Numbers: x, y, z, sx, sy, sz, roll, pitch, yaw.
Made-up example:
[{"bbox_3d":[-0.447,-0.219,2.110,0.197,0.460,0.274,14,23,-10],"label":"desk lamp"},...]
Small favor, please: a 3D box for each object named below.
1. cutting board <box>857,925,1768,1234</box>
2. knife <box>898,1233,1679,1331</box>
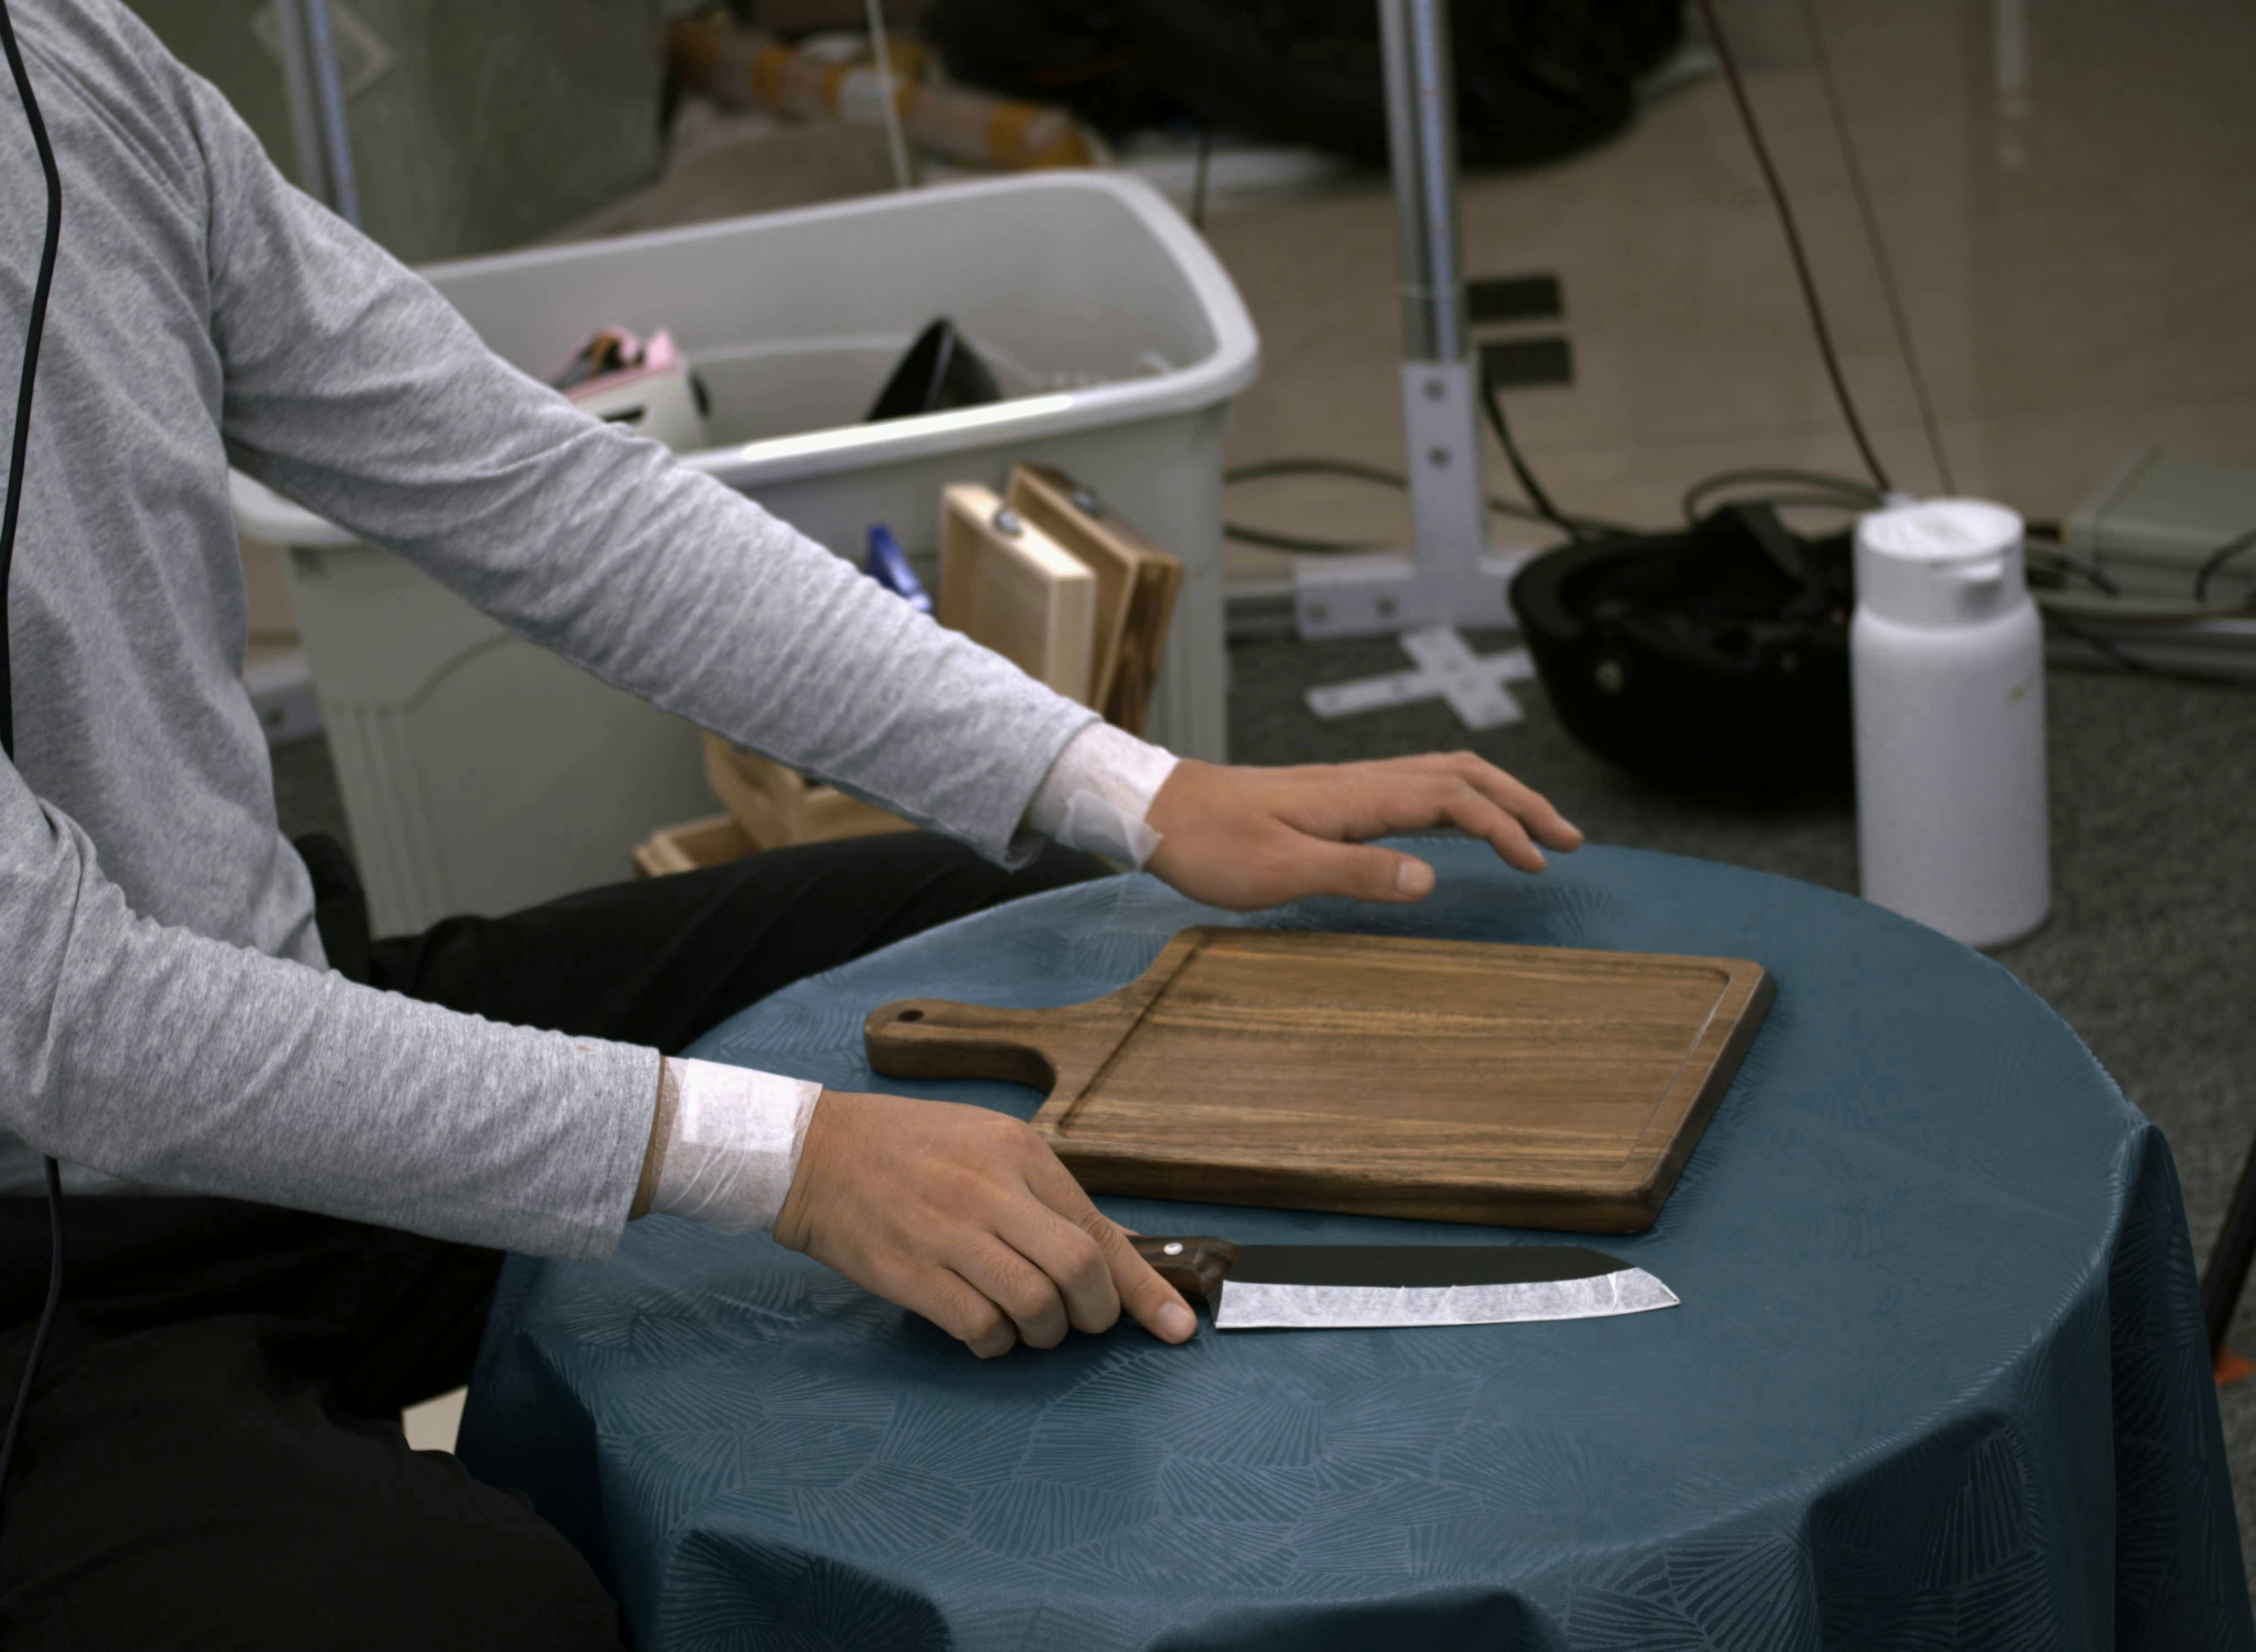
[{"bbox_3d":[0.059,0.092,2.213,0.351,0.023,0.198,4,26,20],"label":"cutting board"},{"bbox_3d":[0.056,0.166,2.062,0.288,0.020,0.049,1,40,11],"label":"knife"}]
